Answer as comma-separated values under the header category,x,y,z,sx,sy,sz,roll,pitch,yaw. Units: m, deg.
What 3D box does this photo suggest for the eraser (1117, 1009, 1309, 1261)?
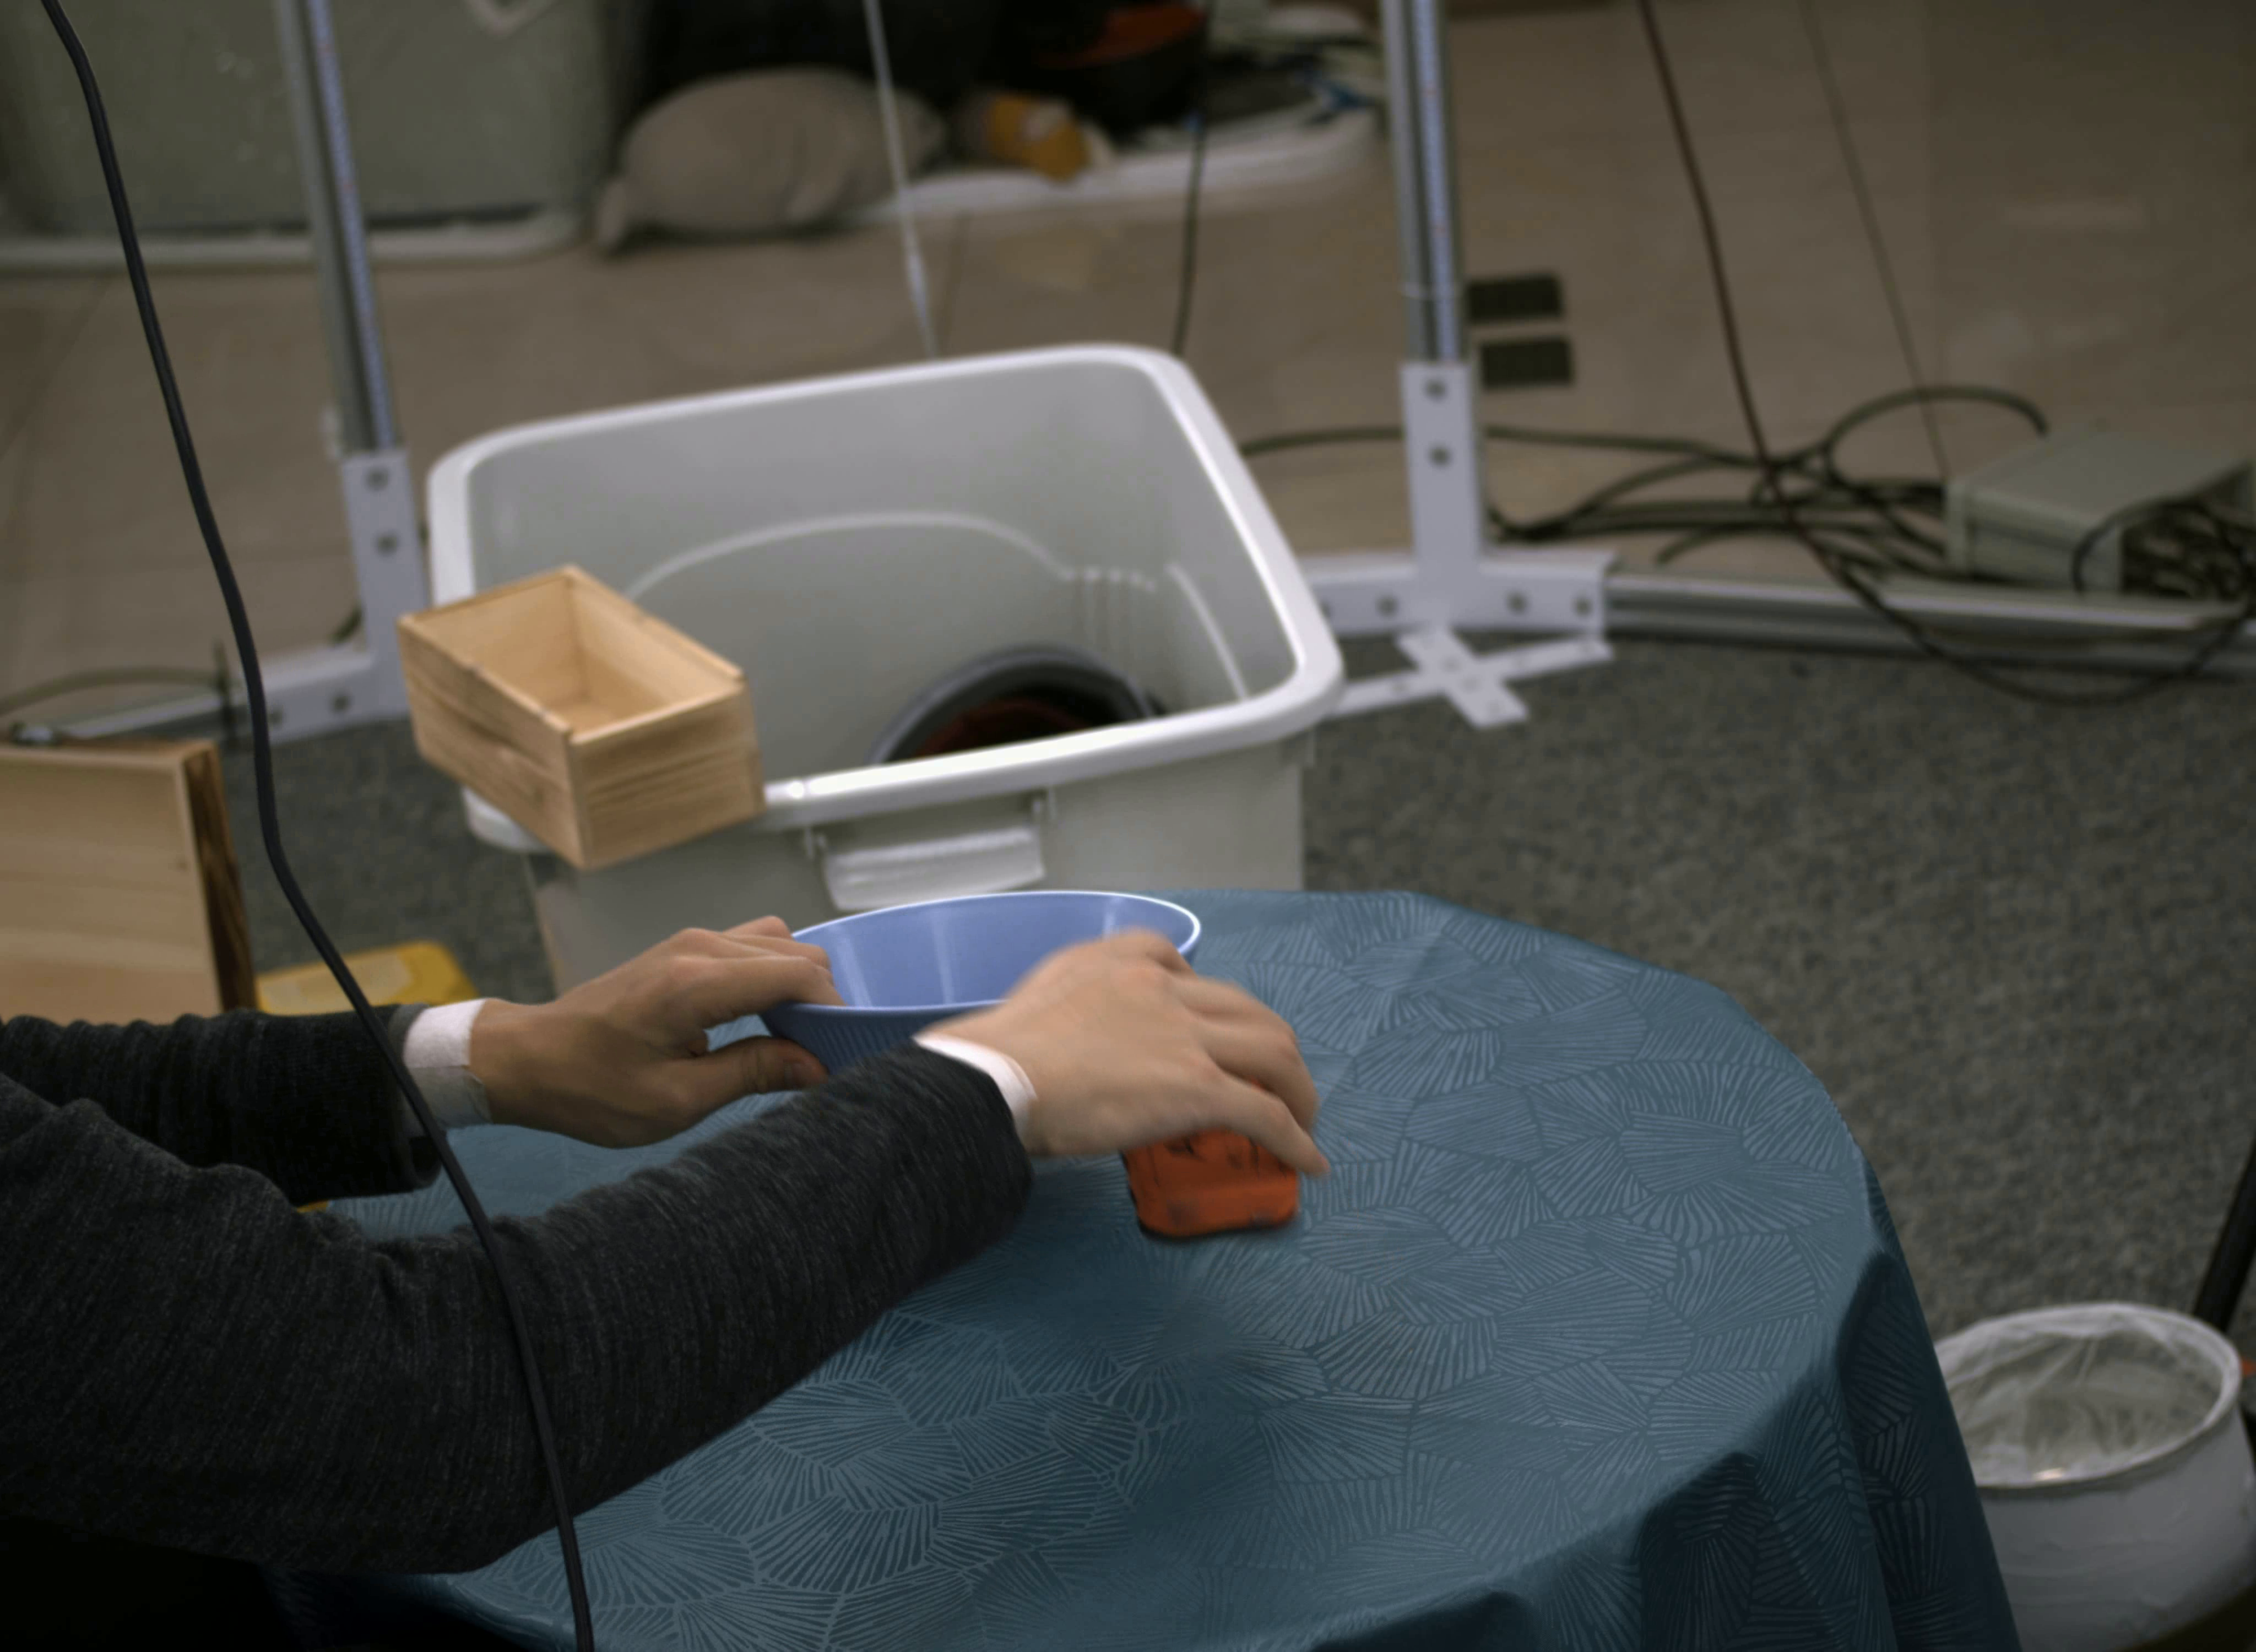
category,x,y,z,sx,sy,sz,roll,pitch,yaw
eraser,0.029,0.108,1.998,0.059,0.023,0.106,-3,40,-6

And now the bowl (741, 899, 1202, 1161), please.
category,x,y,z,sx,sy,sz,roll,pitch,yaw
bowl,-0.056,0.079,2.147,0.176,0.071,0.174,-5,13,1
